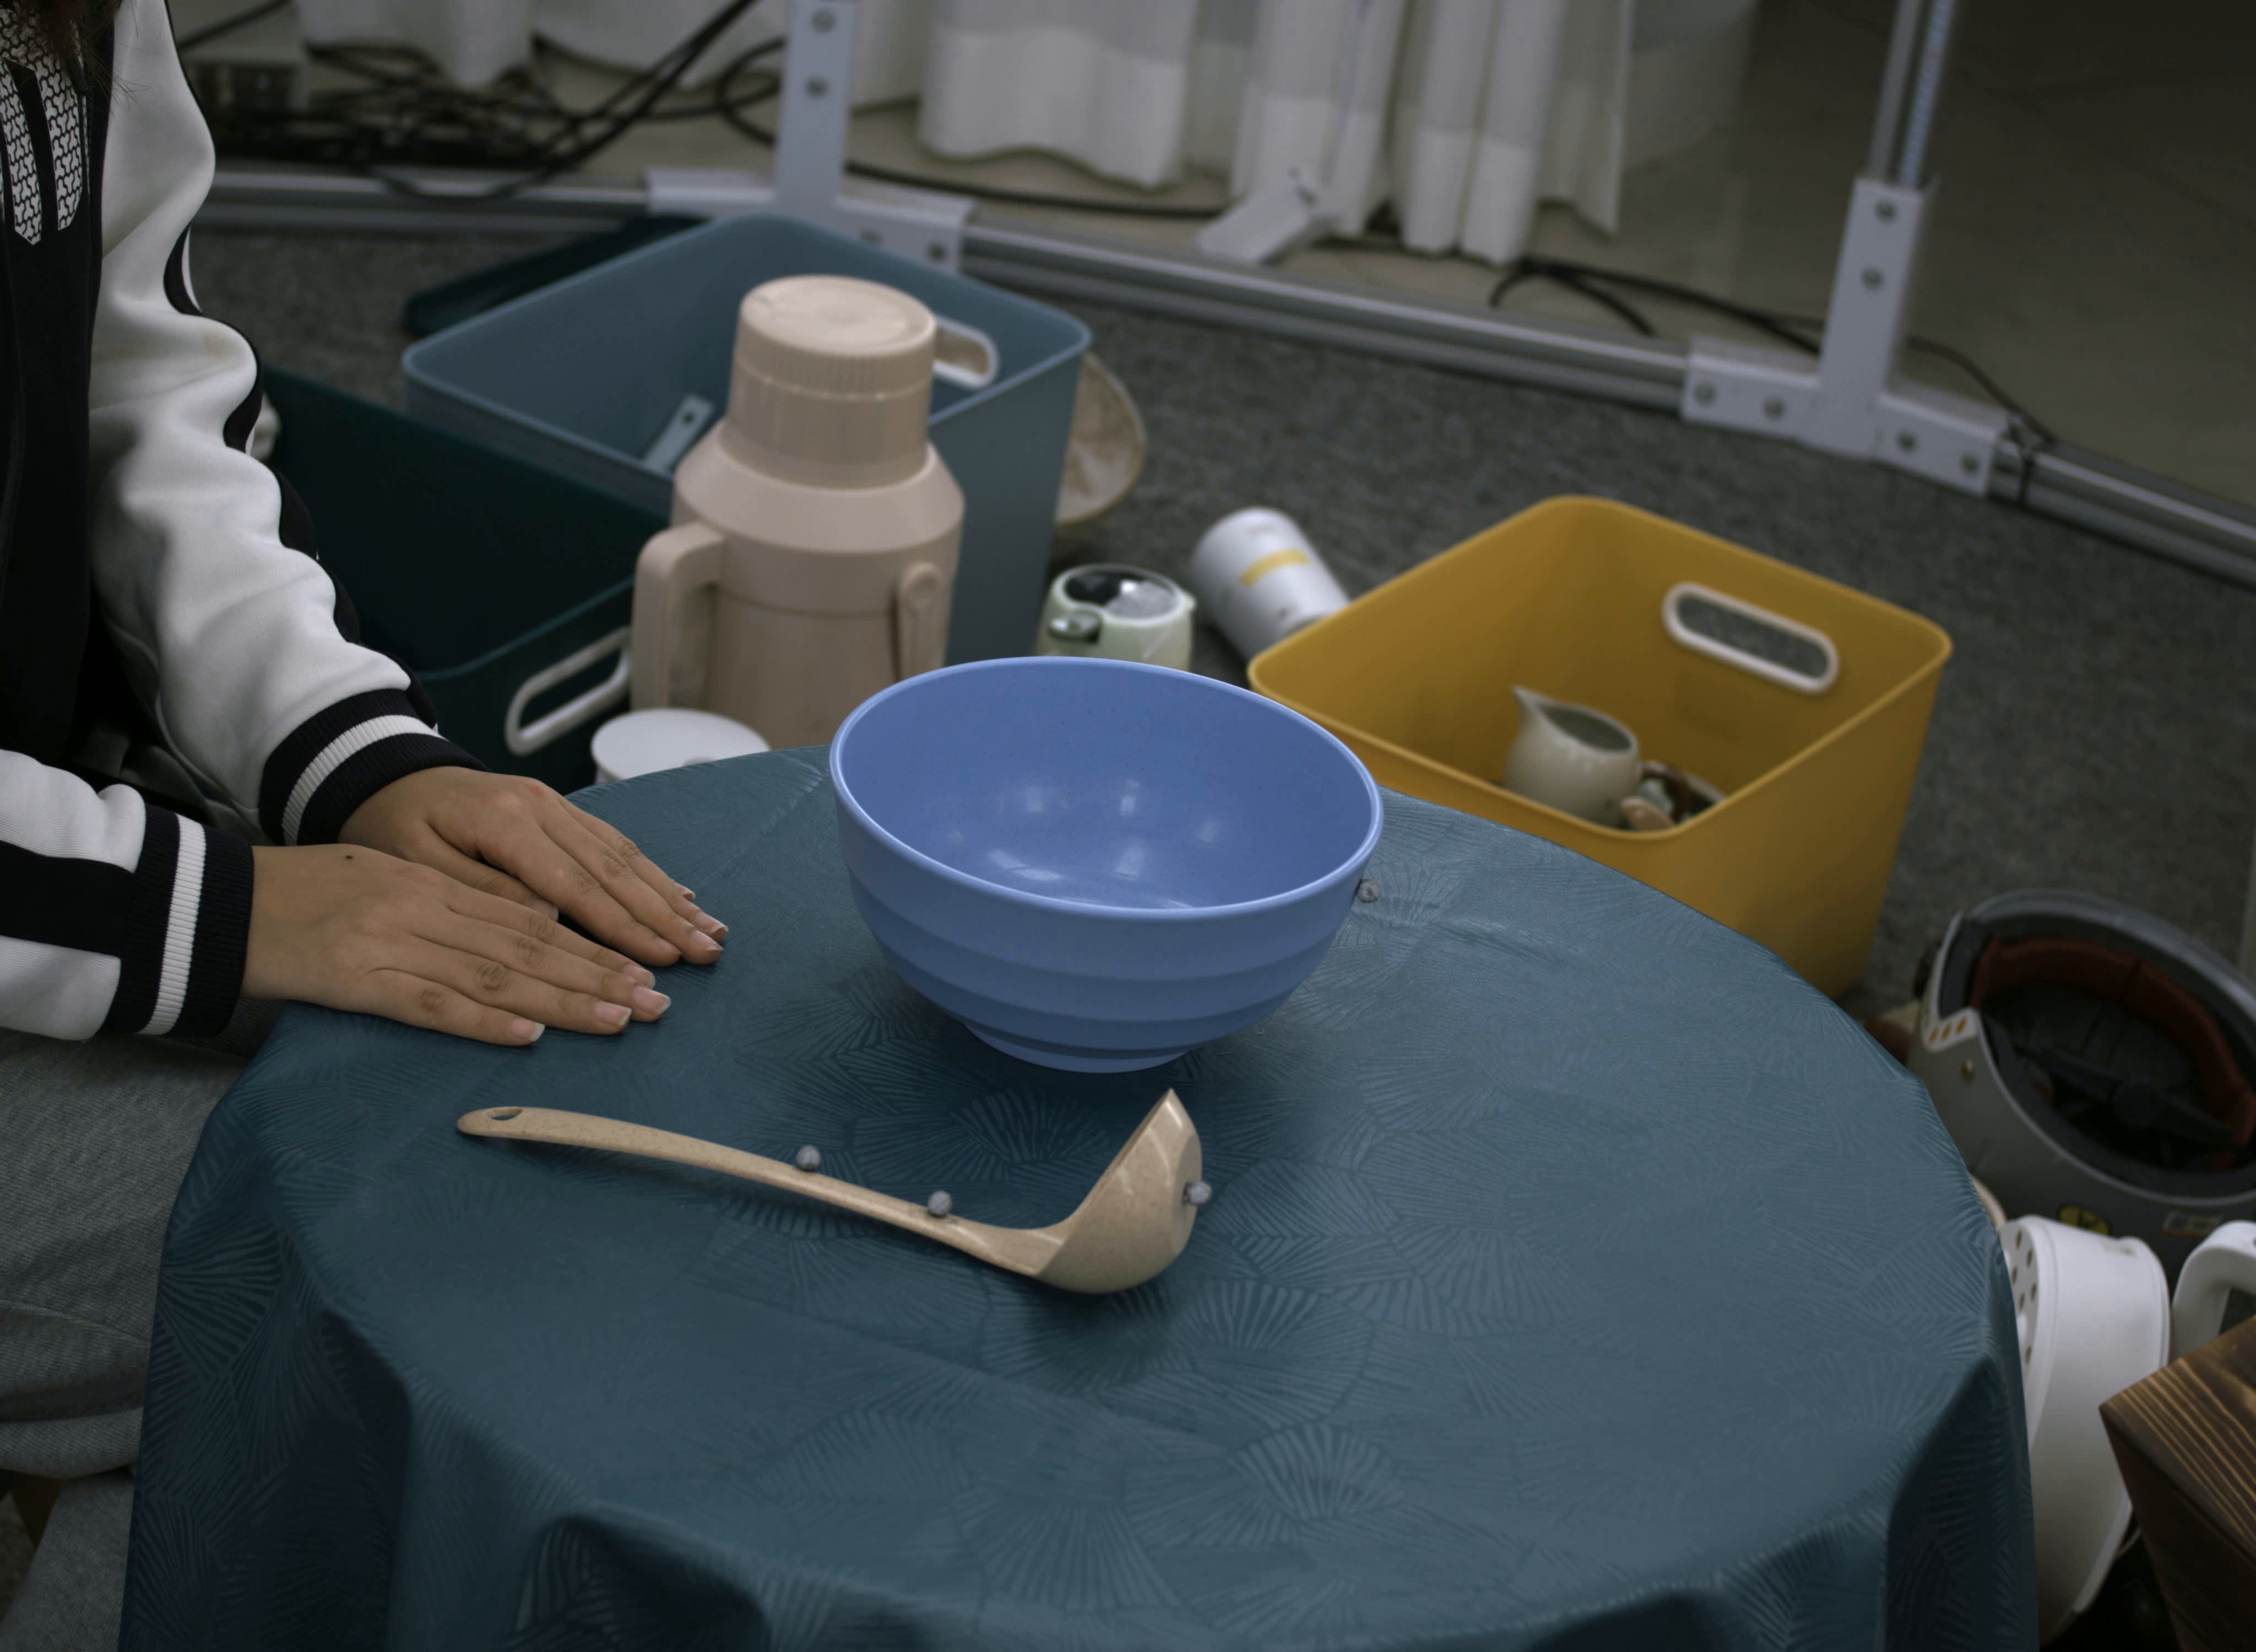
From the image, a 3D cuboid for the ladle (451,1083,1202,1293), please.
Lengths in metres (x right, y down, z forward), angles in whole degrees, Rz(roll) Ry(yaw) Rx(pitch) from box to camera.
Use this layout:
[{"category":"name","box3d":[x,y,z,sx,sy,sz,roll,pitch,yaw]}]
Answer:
[{"category":"ladle","box3d":[-0.101,0.097,1.752,0.254,0.072,0.072,12,25,11]}]

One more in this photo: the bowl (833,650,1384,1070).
[{"category":"bowl","box3d":[-0.013,0.023,1.890,0.196,0.095,0.197,7,27,-4]}]
